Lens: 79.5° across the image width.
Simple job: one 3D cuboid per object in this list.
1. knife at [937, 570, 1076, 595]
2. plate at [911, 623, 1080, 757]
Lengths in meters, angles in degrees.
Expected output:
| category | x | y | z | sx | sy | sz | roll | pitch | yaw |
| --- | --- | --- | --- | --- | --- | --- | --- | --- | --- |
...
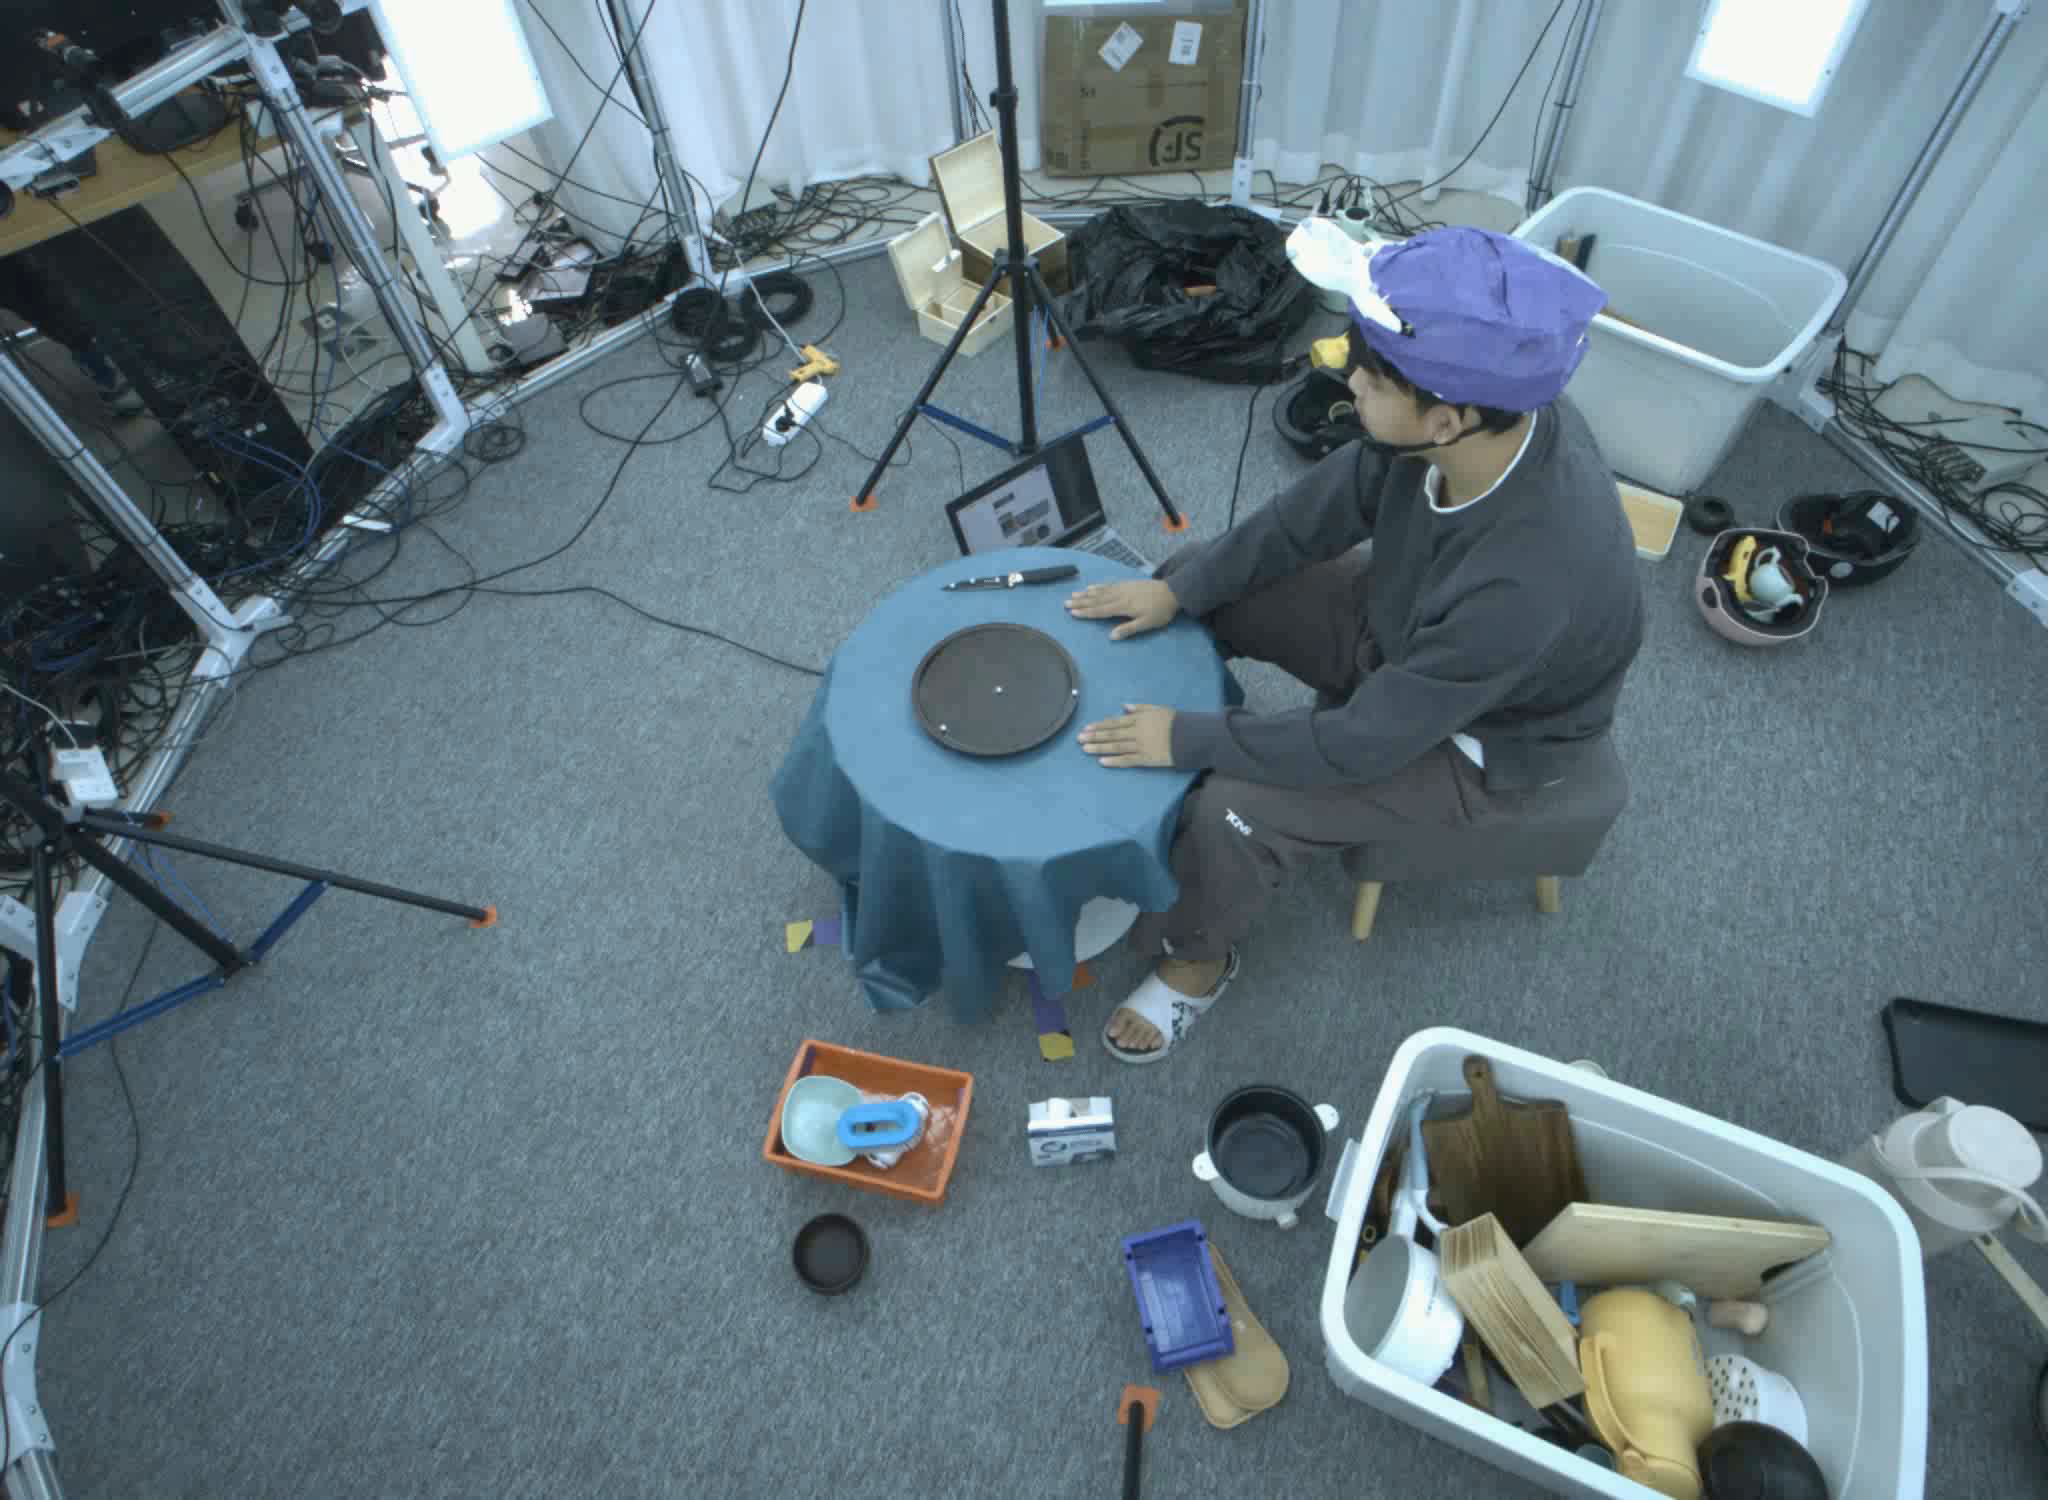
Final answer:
| category | x | y | z | sx | sy | sz | roll | pitch | yaw |
| --- | --- | --- | --- | --- | --- | --- | --- | --- | --- |
| knife | -0.029 | -0.270 | 1.973 | 0.226 | 0.017 | 0.026 | -7 | 60 | -2 |
| plate | -0.043 | -0.091 | 1.839 | 0.255 | 0.029 | 0.252 | 1 | 54 | 0 |
